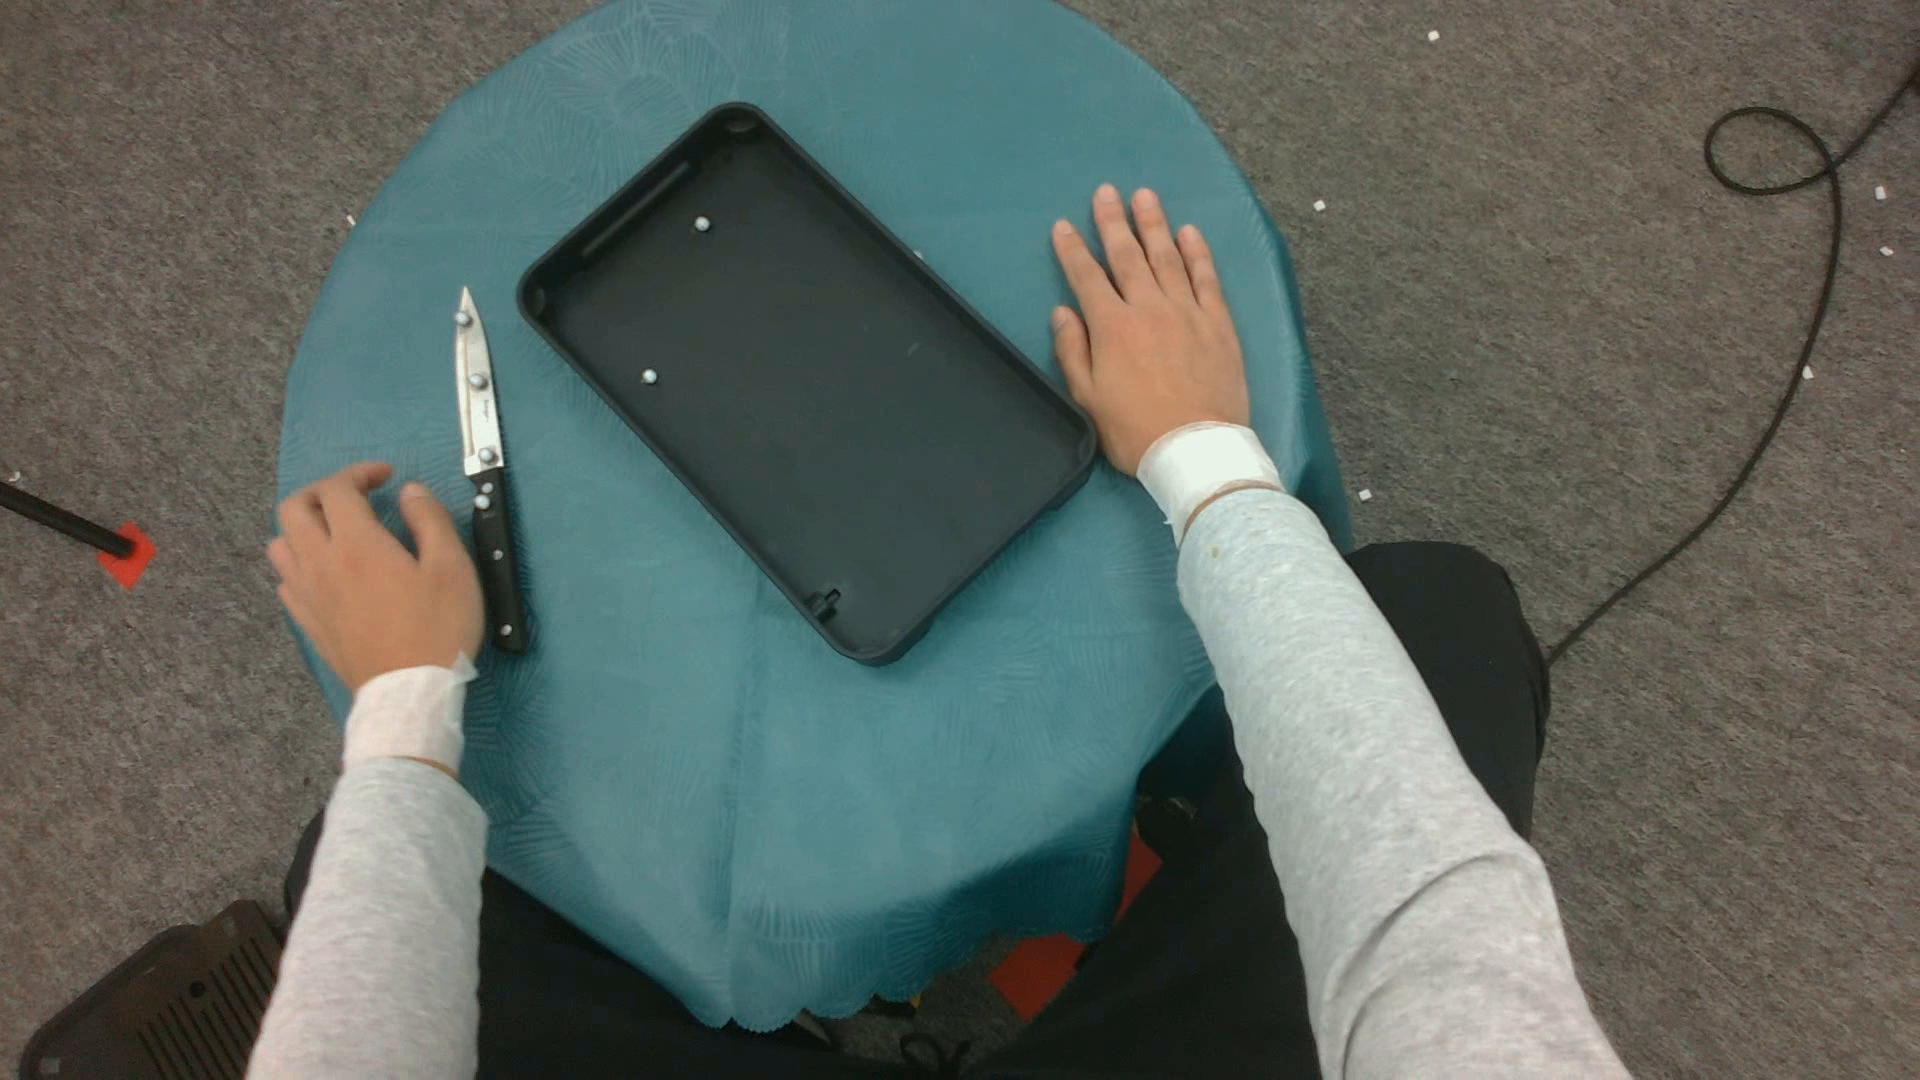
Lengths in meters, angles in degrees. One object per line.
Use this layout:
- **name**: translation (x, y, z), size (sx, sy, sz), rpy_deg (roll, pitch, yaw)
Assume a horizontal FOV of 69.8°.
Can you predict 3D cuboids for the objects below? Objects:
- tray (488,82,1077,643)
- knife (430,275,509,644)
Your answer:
- **tray**: translation (-0.103, -0.105, 0.772), size (0.318, 0.037, 0.184), rpy_deg (43, 83, 15)
- **knife**: translation (-0.283, -0.053, 0.790), size (0.024, 0.016, 0.239), rpy_deg (-16, 70, 2)
